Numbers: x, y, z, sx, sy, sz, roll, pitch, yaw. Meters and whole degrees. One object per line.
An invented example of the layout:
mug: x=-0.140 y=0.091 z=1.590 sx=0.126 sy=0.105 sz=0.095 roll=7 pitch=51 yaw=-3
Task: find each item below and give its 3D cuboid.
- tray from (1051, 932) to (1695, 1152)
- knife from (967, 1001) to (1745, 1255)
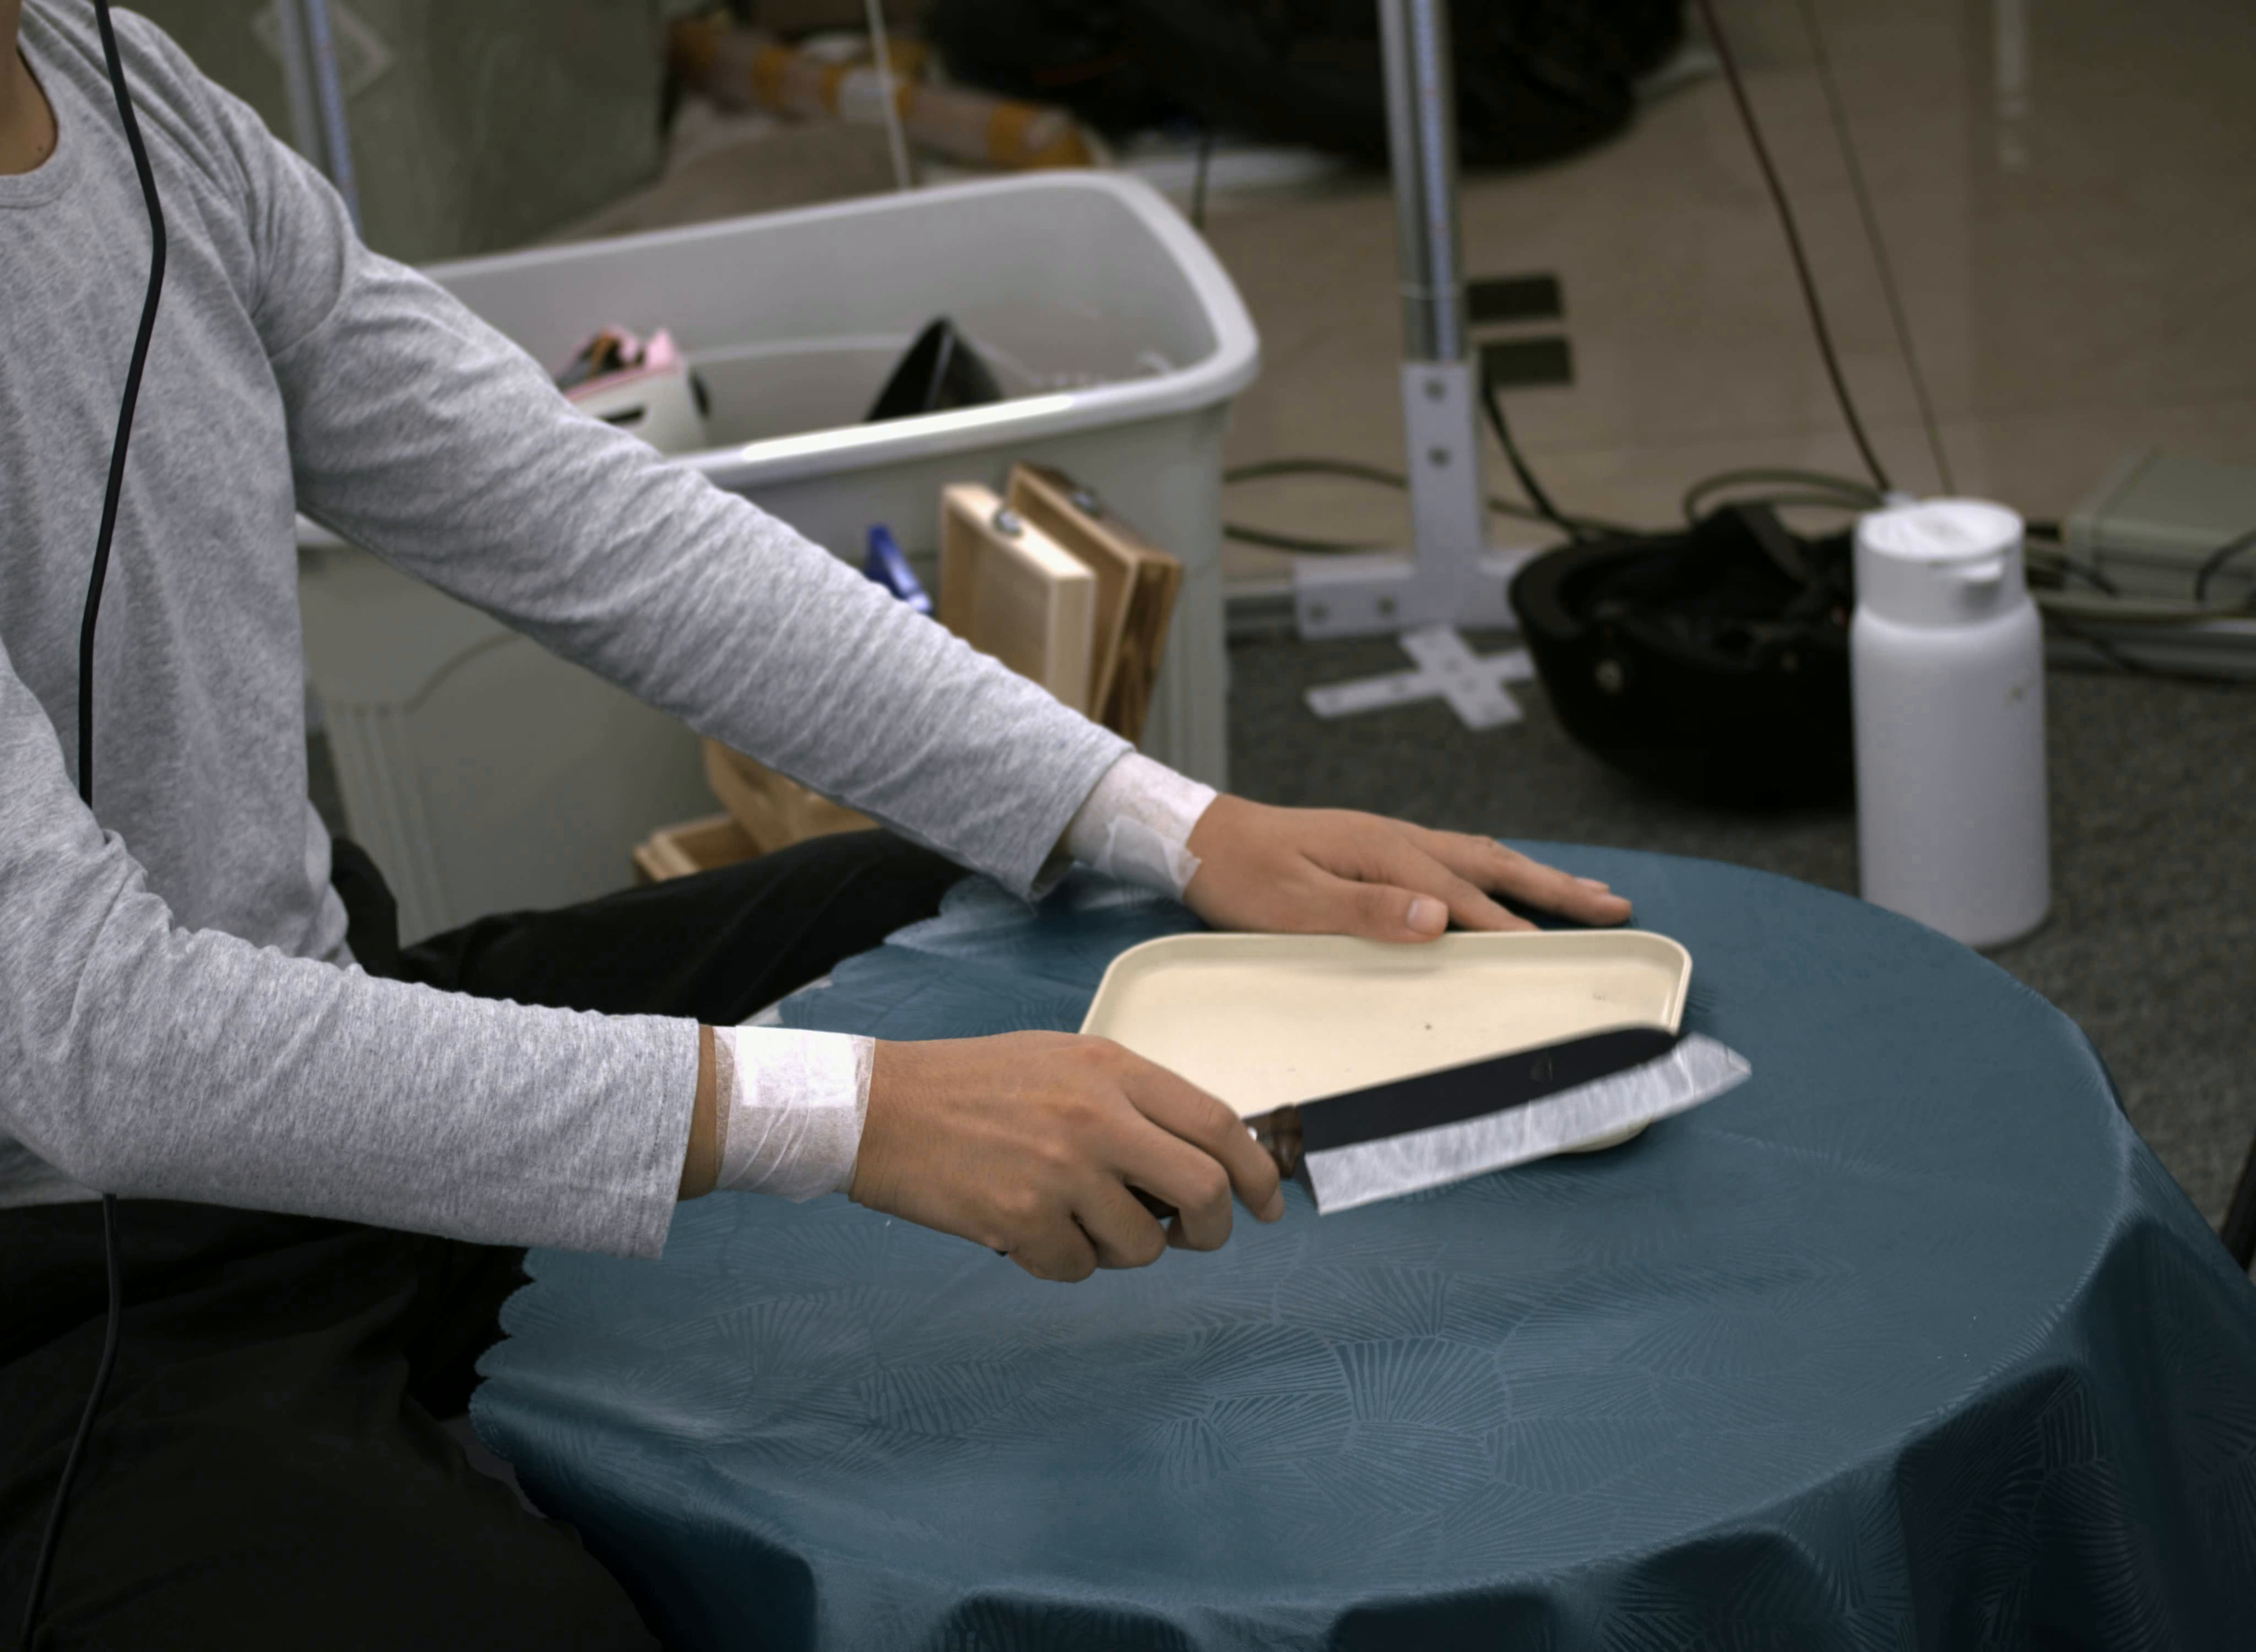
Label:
tray: x=0.098 y=0.086 z=2.222 sx=0.239 sy=0.018 sz=0.169 roll=-1 pitch=25 yaw=13
knife: x=0.084 y=0.109 z=2.036 sx=0.288 sy=0.020 sz=0.049 roll=-13 pitch=64 yaw=-8
